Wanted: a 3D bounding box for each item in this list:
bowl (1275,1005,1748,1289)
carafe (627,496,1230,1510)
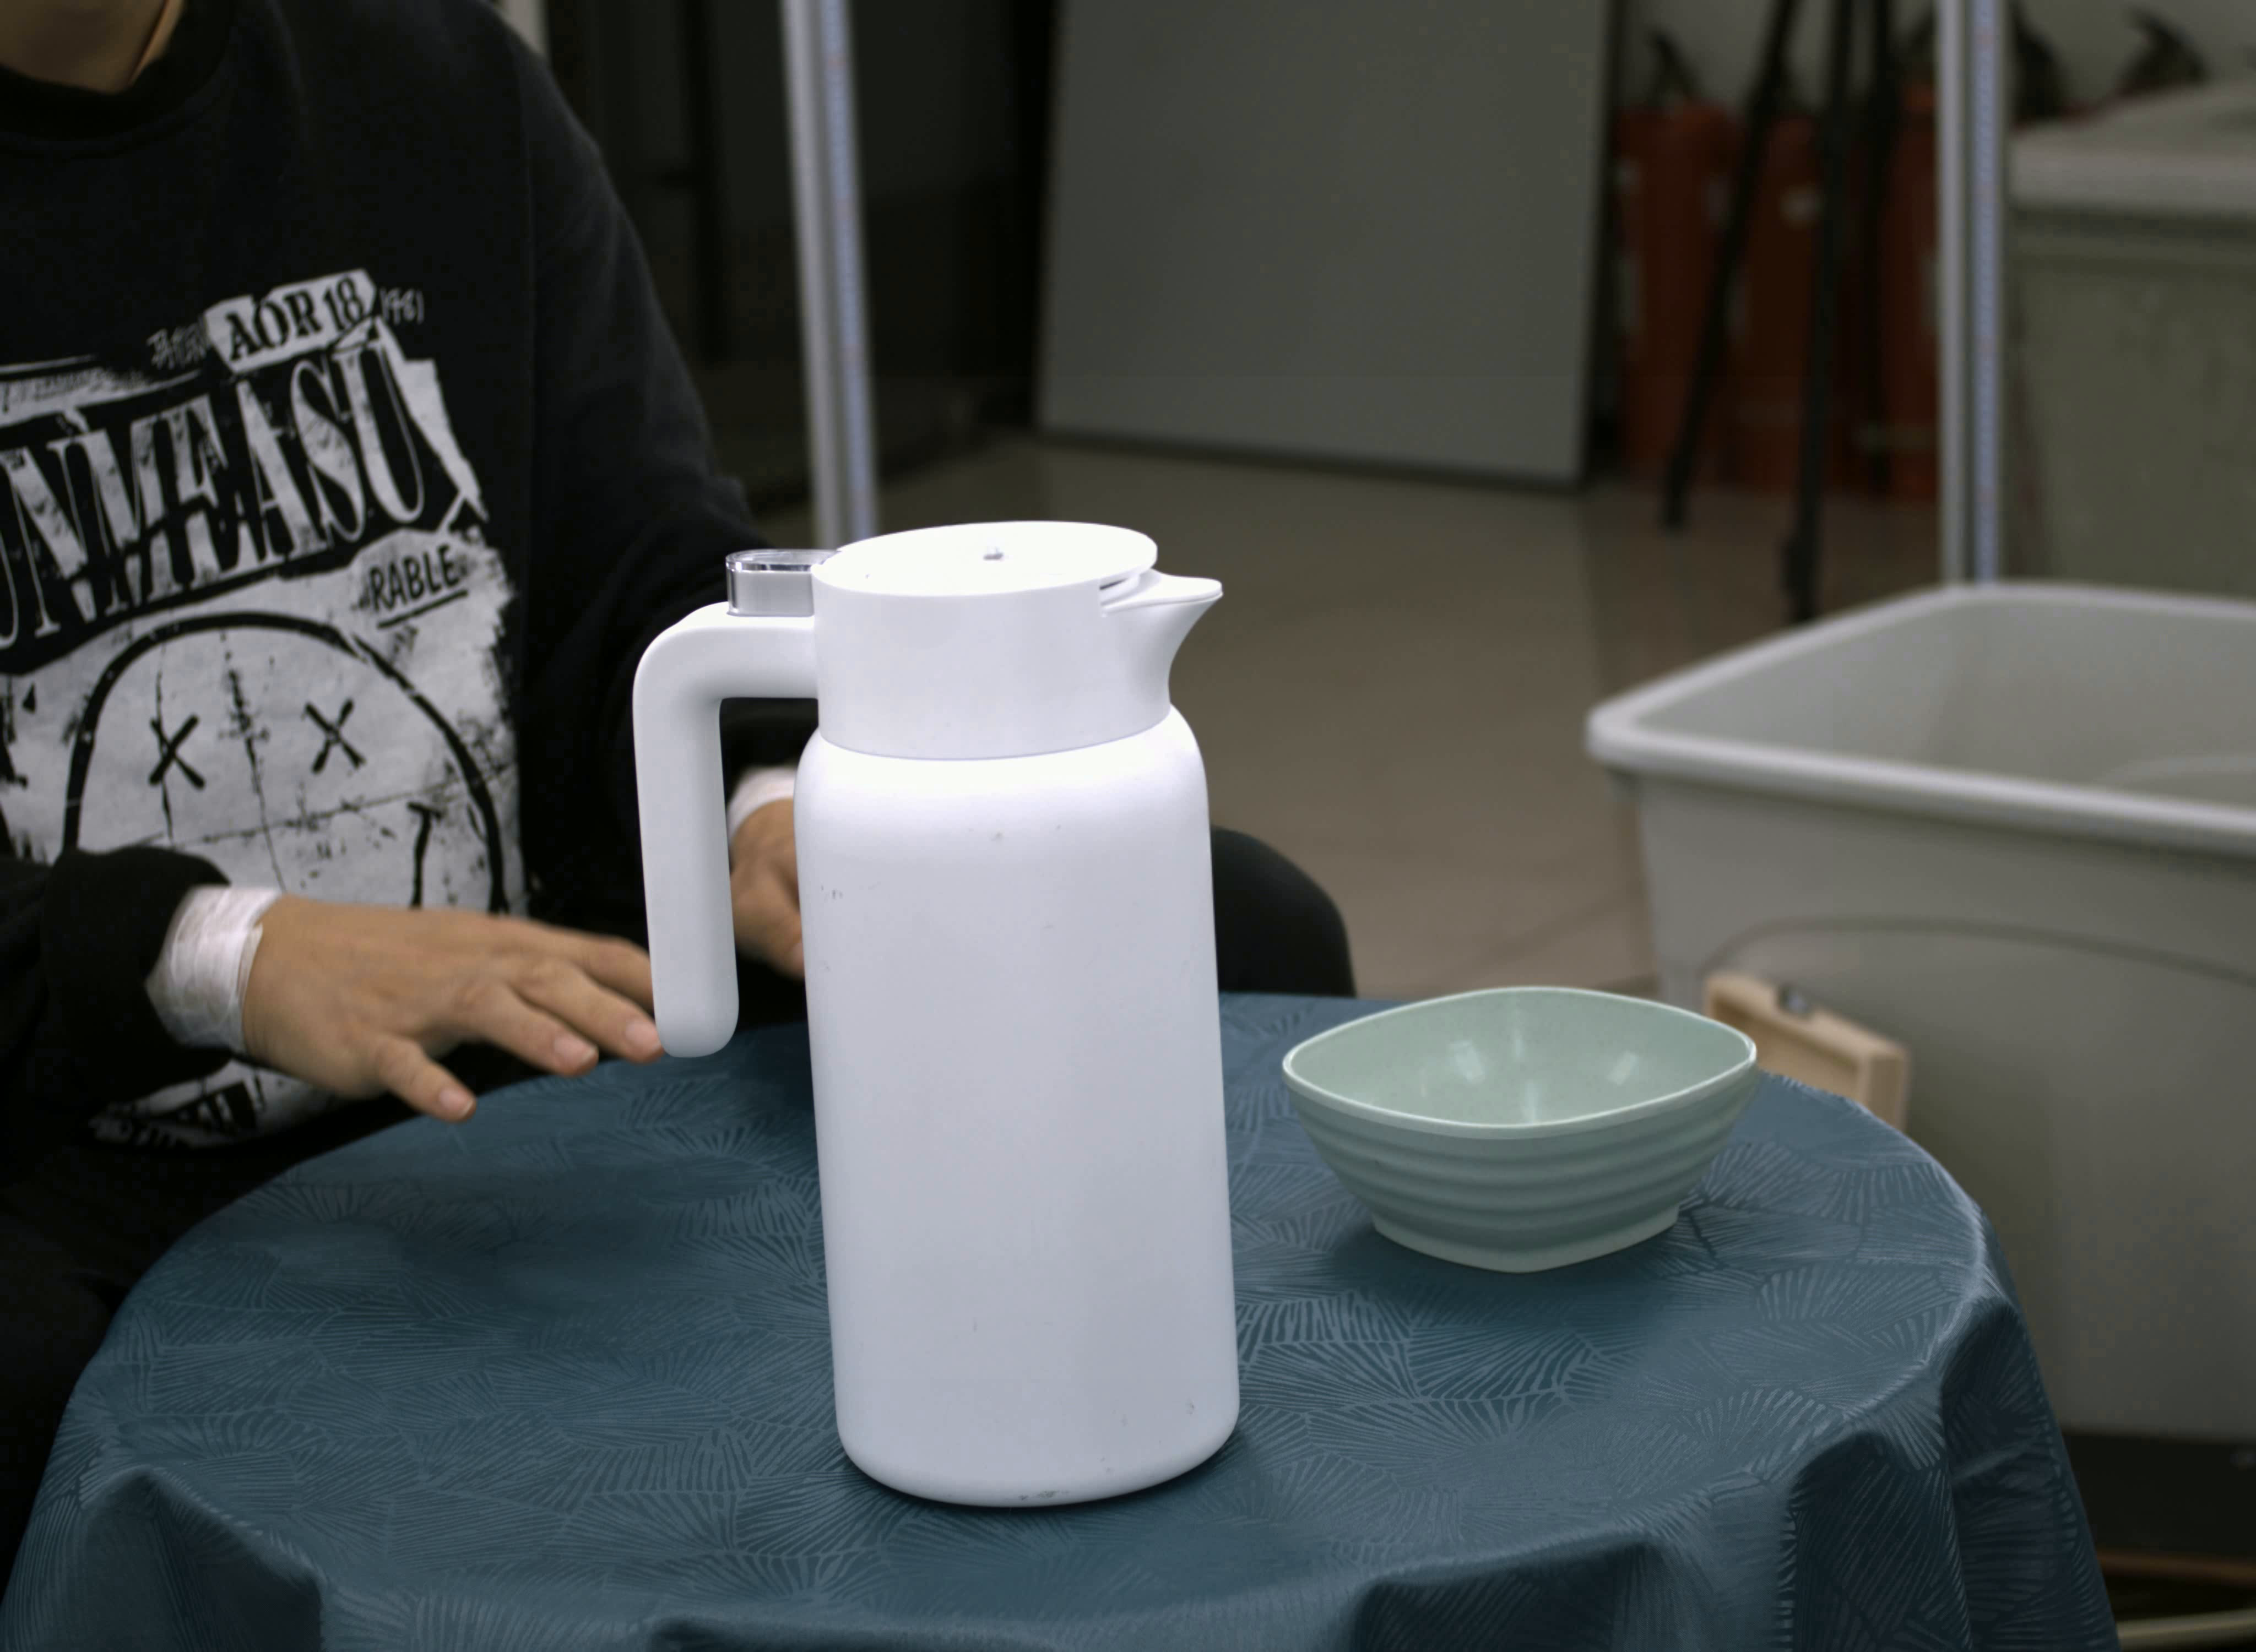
[{"bbox_3d":[0.124,0.104,1.706,0.149,0.059,0.151,-6,12,0],"label":"bowl"},{"bbox_3d":[-0.051,0.049,1.523,0.172,0.272,0.123,0,16,15],"label":"carafe"}]
